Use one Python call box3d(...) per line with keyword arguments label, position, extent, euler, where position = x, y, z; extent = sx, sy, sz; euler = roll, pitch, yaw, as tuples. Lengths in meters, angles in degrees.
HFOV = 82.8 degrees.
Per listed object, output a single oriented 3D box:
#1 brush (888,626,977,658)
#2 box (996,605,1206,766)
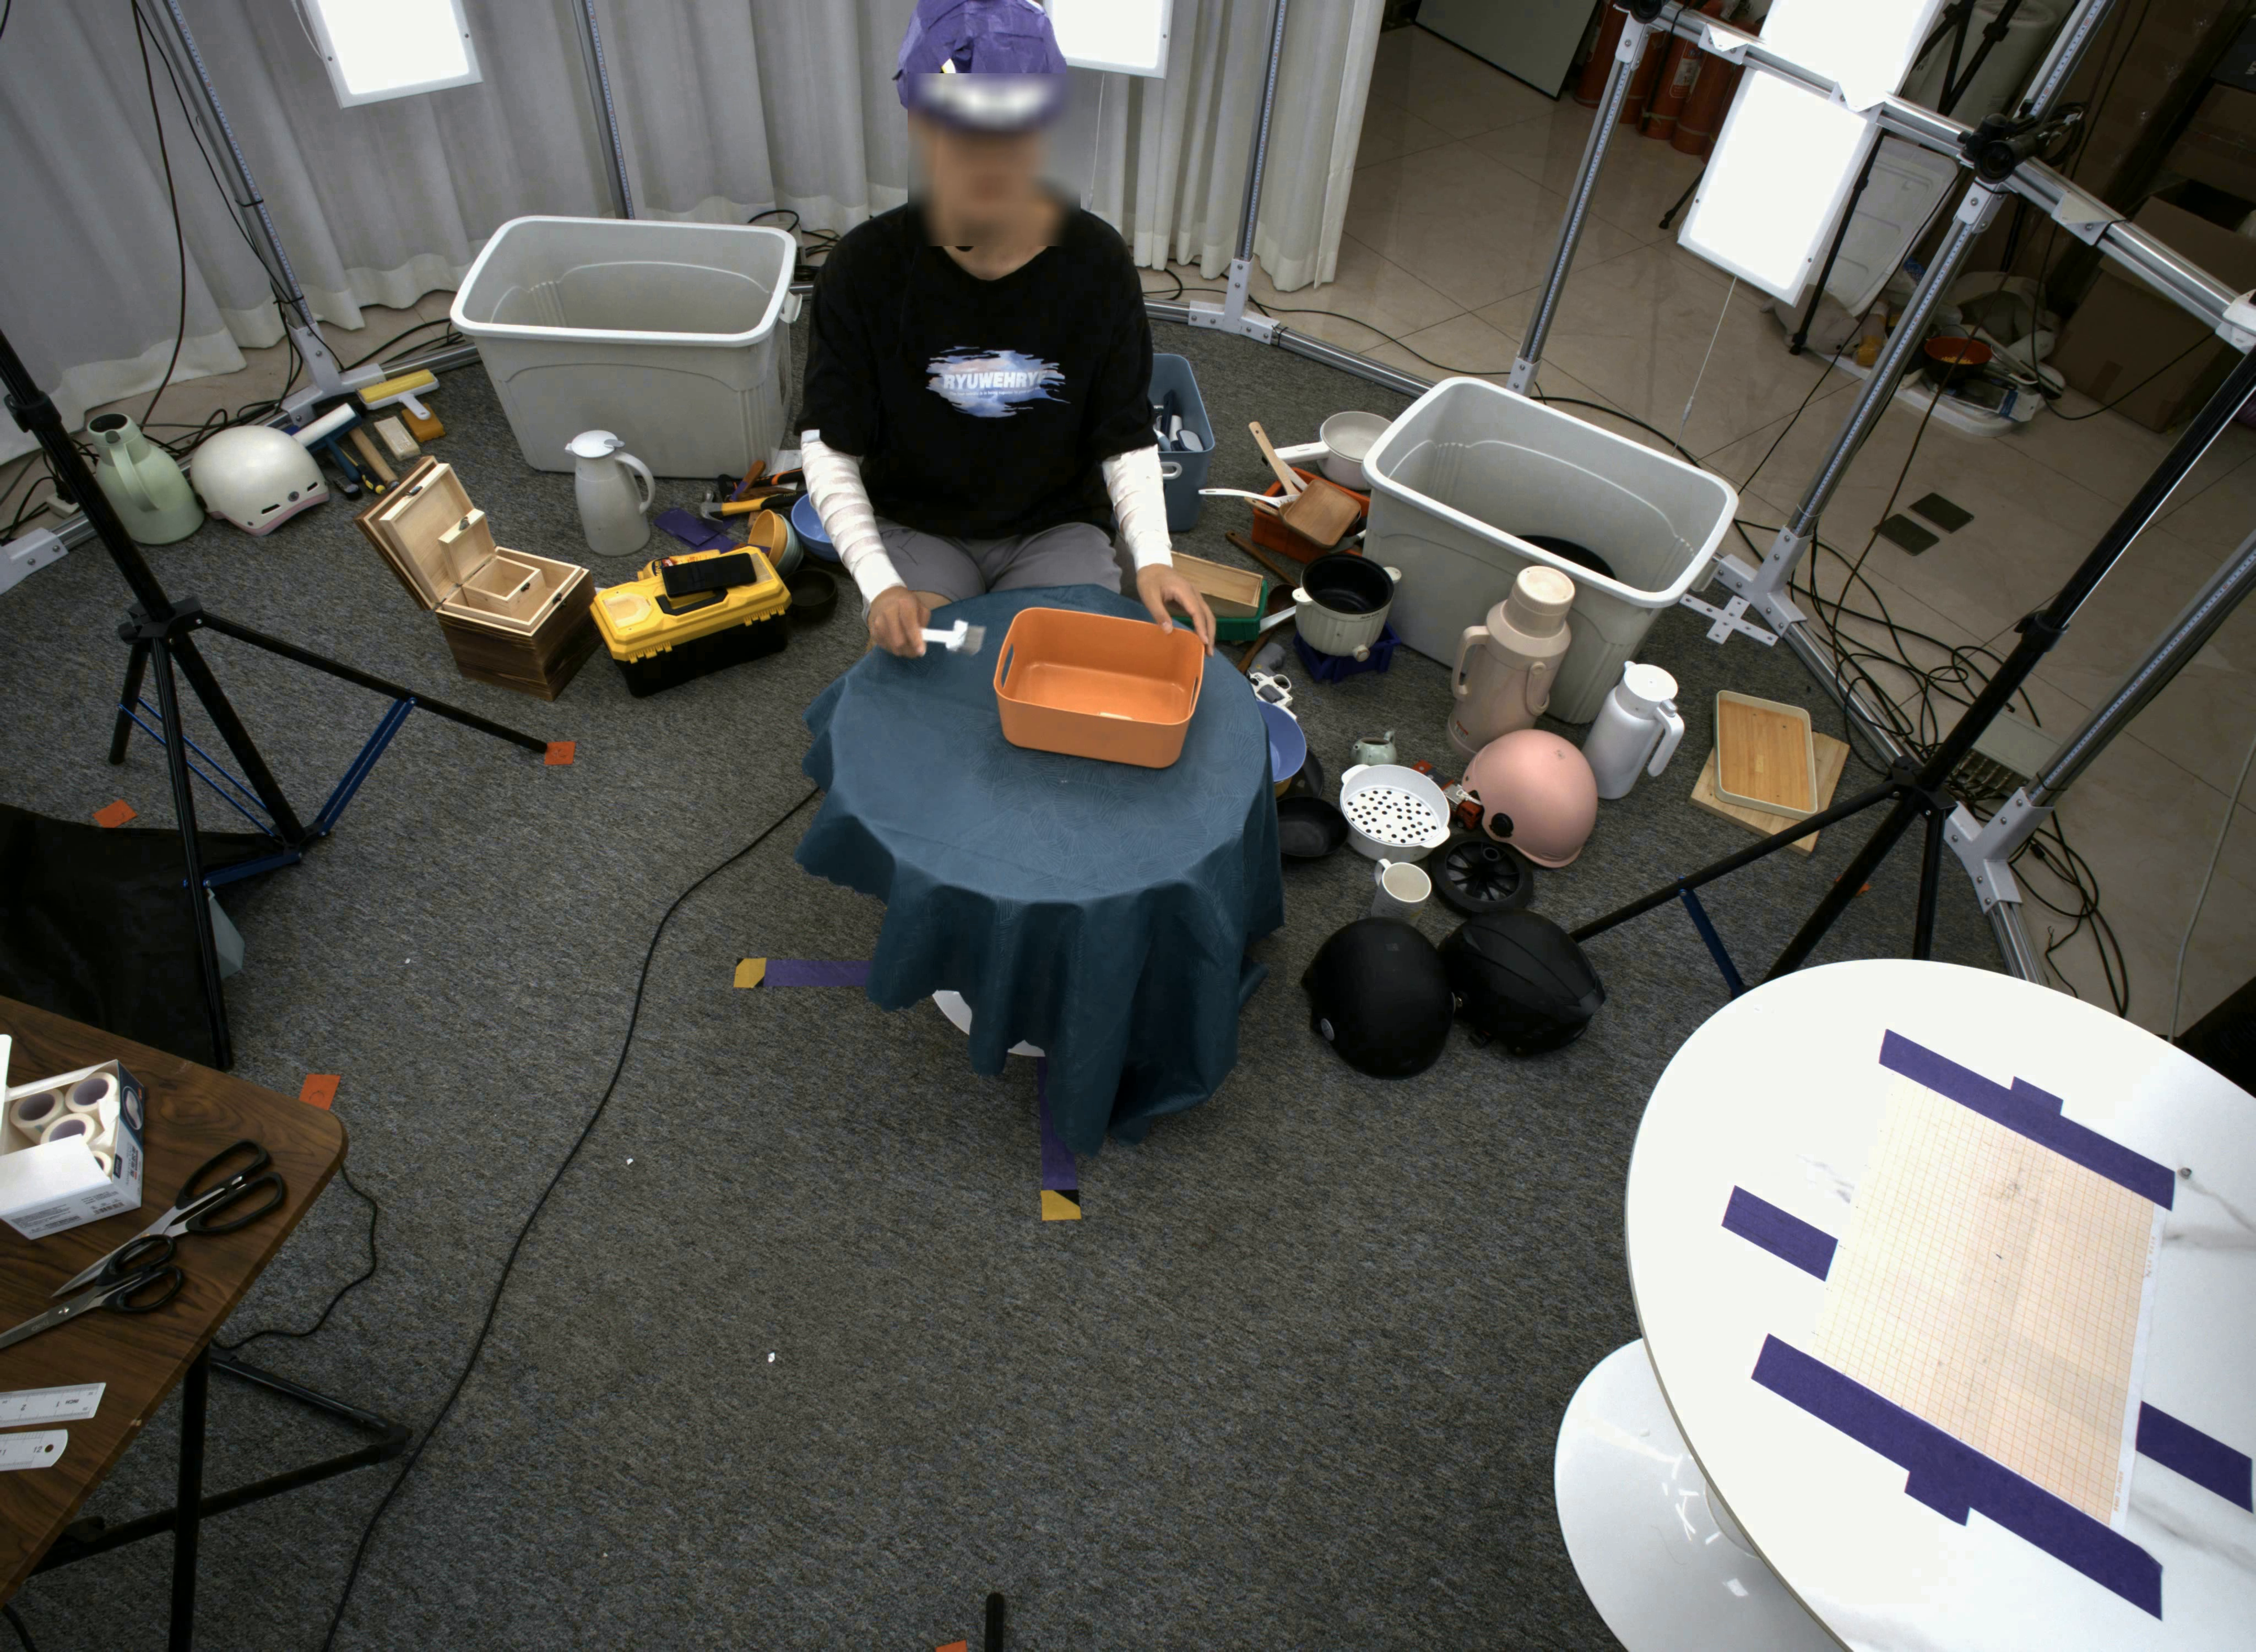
box3d(label="brush", position=(-0.263, -0.249, 1.749), extent=(0.050, 0.034, 0.245), euler=(10, 1, -31))
box3d(label="box", position=(-0.037, -0.191, 1.766), extent=(0.273, 0.100, 0.204), euler=(9, 51, 3))
